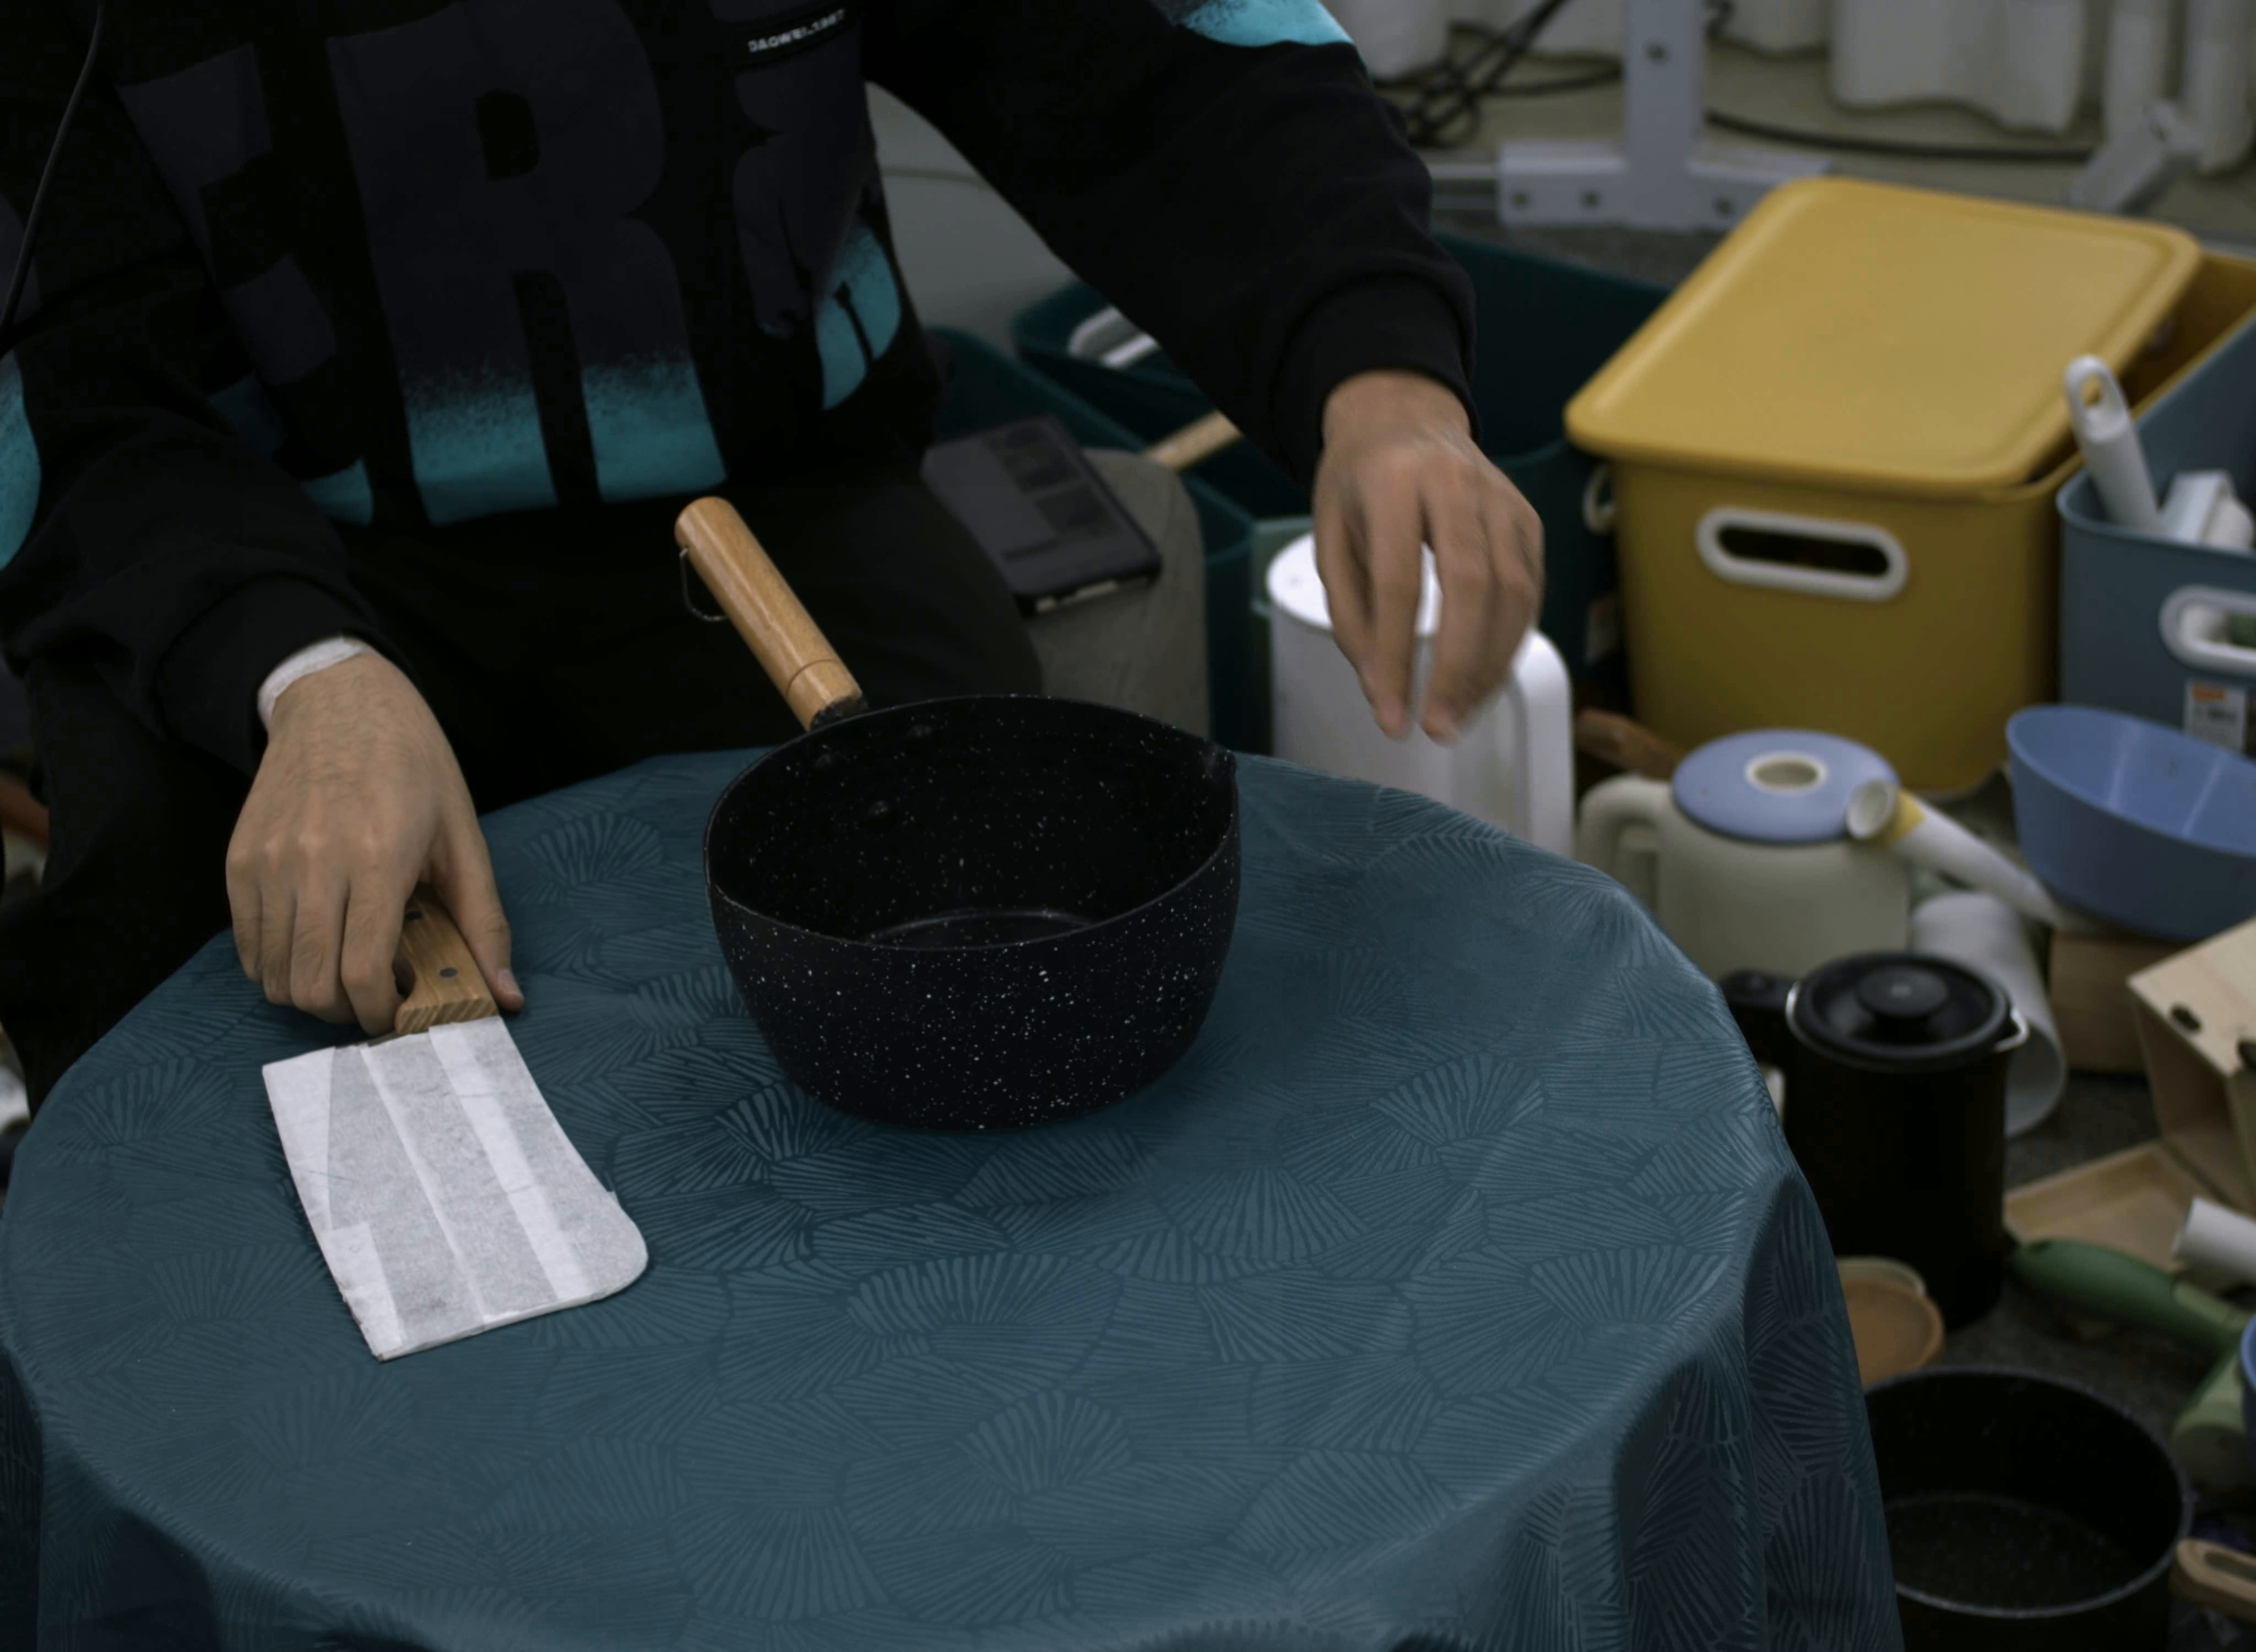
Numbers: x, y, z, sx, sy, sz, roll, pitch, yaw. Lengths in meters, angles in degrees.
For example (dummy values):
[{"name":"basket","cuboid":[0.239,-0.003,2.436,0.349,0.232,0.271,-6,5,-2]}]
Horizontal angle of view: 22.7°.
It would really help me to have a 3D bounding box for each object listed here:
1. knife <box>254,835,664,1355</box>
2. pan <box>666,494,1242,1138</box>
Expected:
[{"name":"knife","cuboid":[-0.241,0.088,1.931,0.114,0.021,0.319,-10,31,-13]},{"name":"pan","cuboid":[-0.089,-0.008,2.004,0.208,0.107,0.345,-16,31,-23]}]
